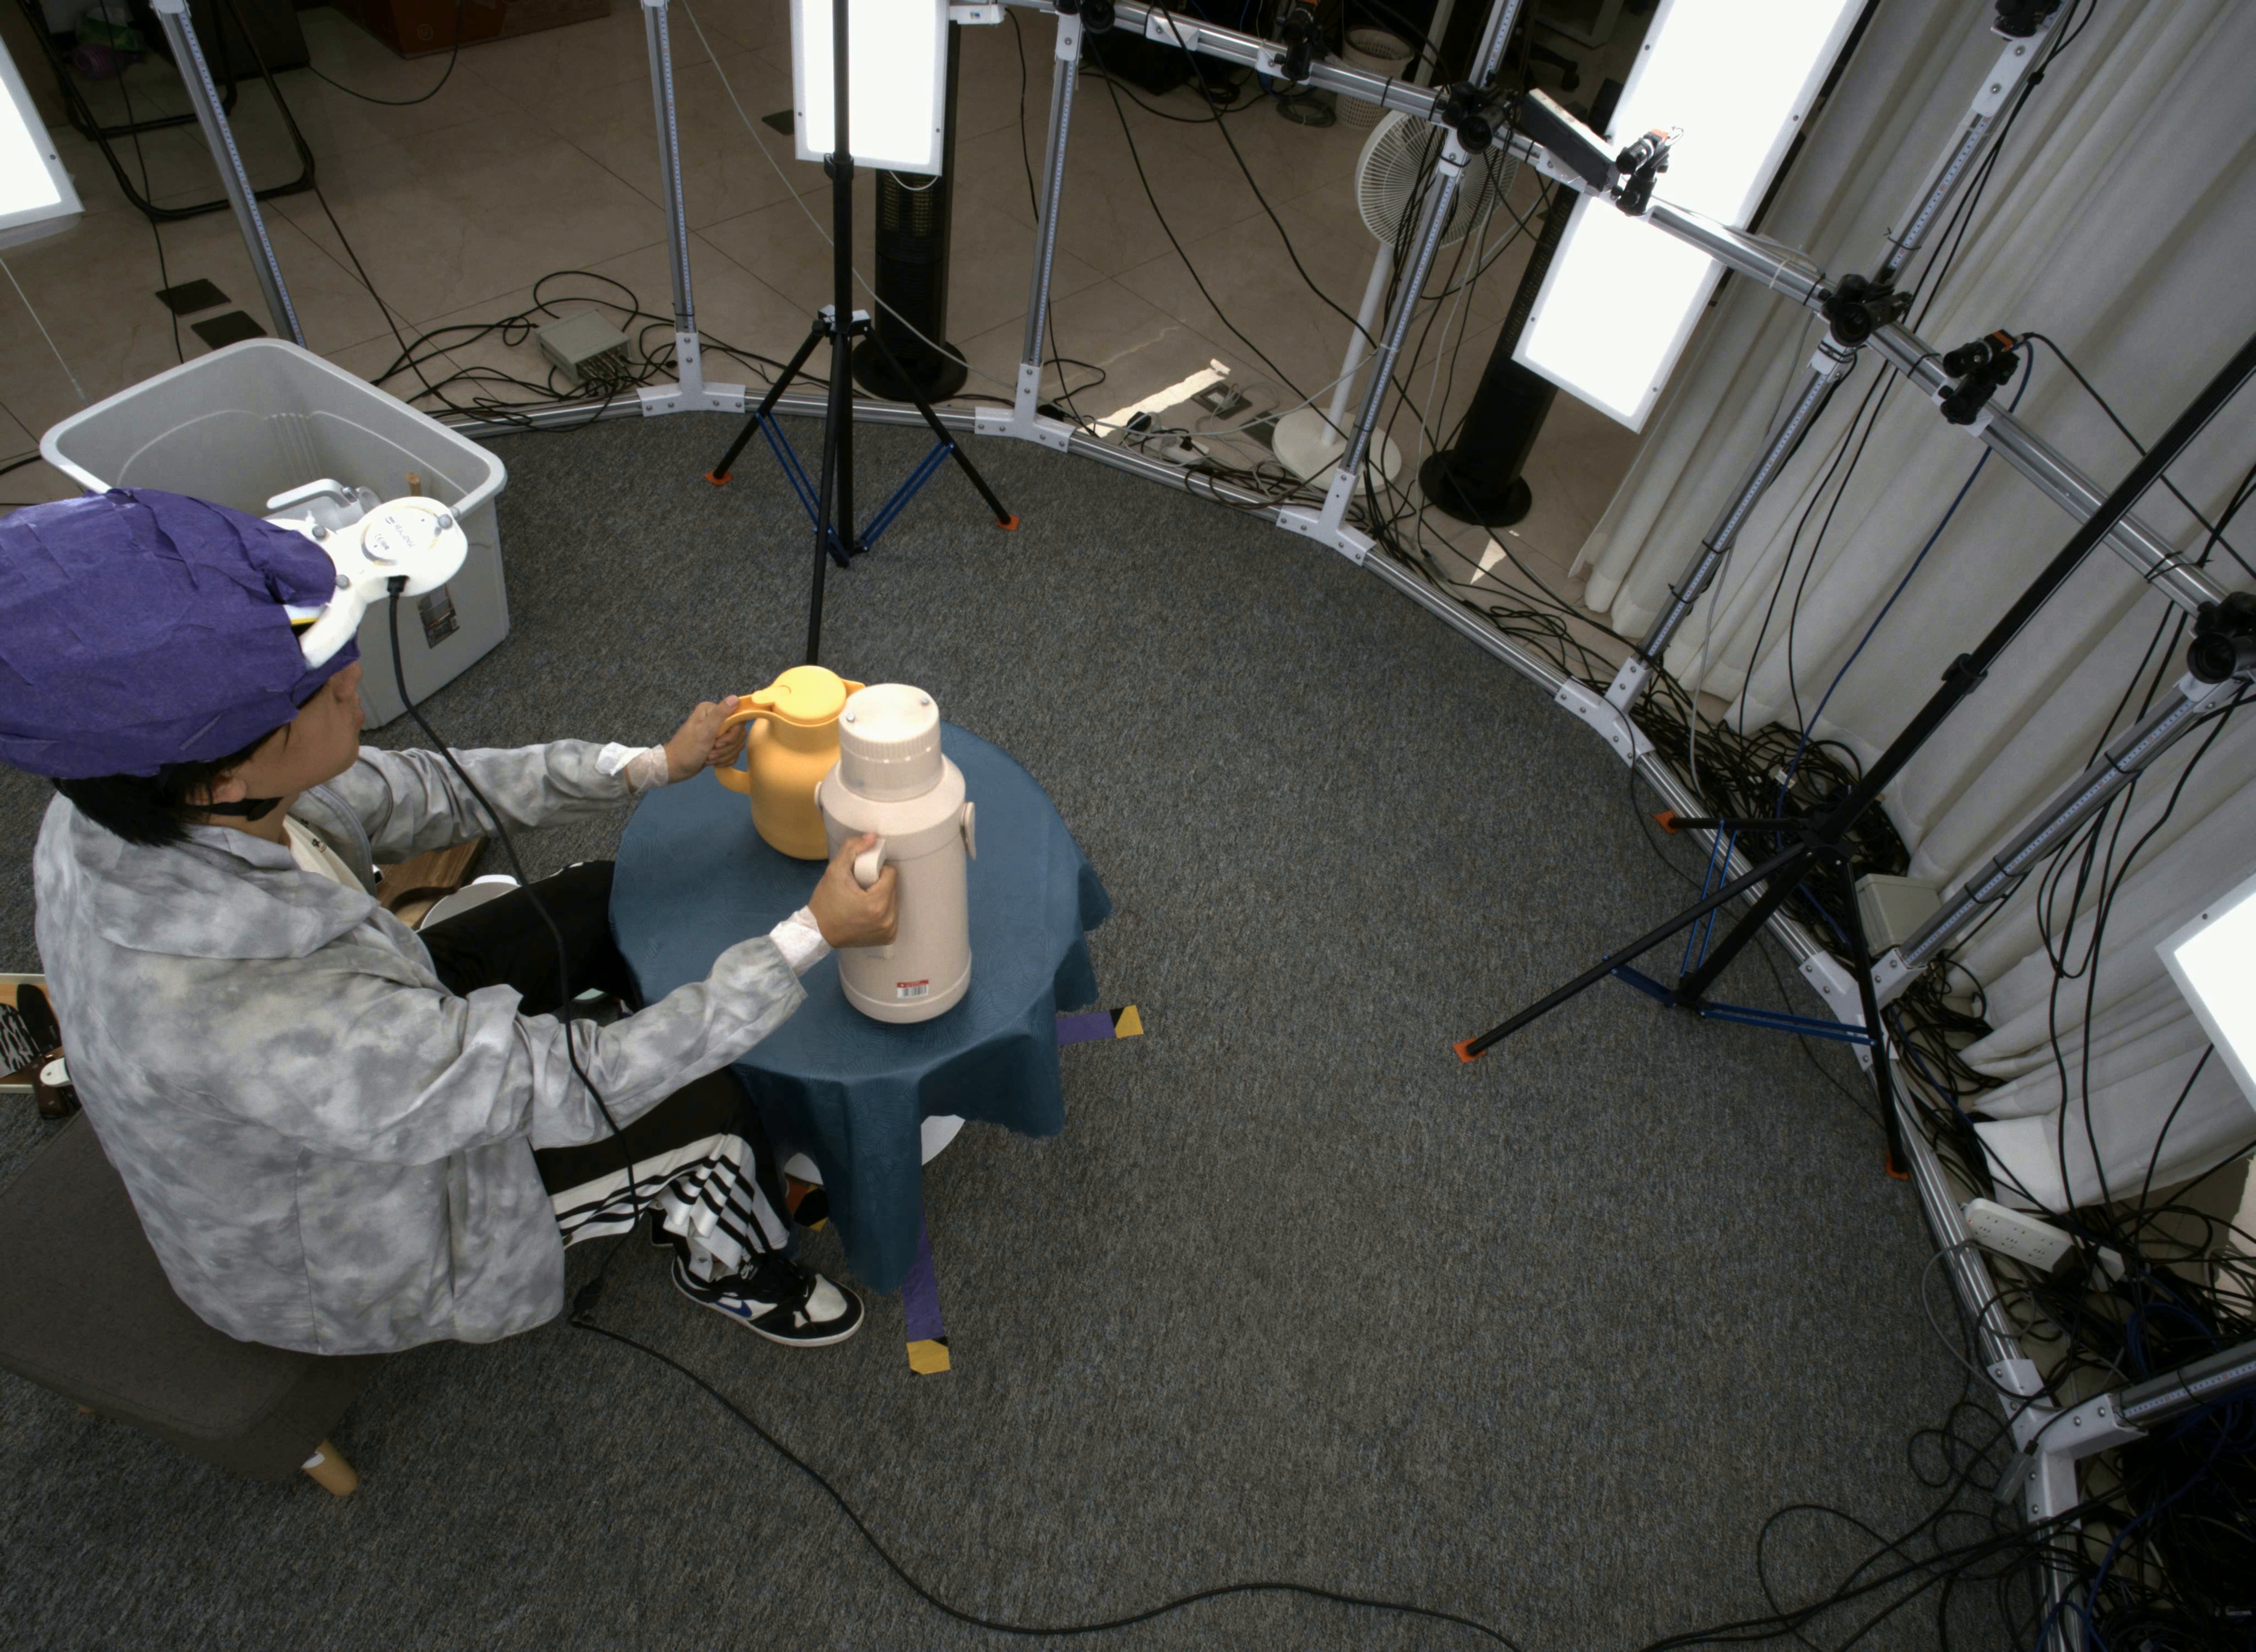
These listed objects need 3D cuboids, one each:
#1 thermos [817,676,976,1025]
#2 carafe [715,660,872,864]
[{"bbox_3d":[-0.260,0.040,1.458,0.173,0.418,0.203,8,41,2],"label":"thermos"},{"bbox_3d":[-0.411,-0.085,1.624,0.203,0.266,0.159,-6,51,-18],"label":"carafe"}]
